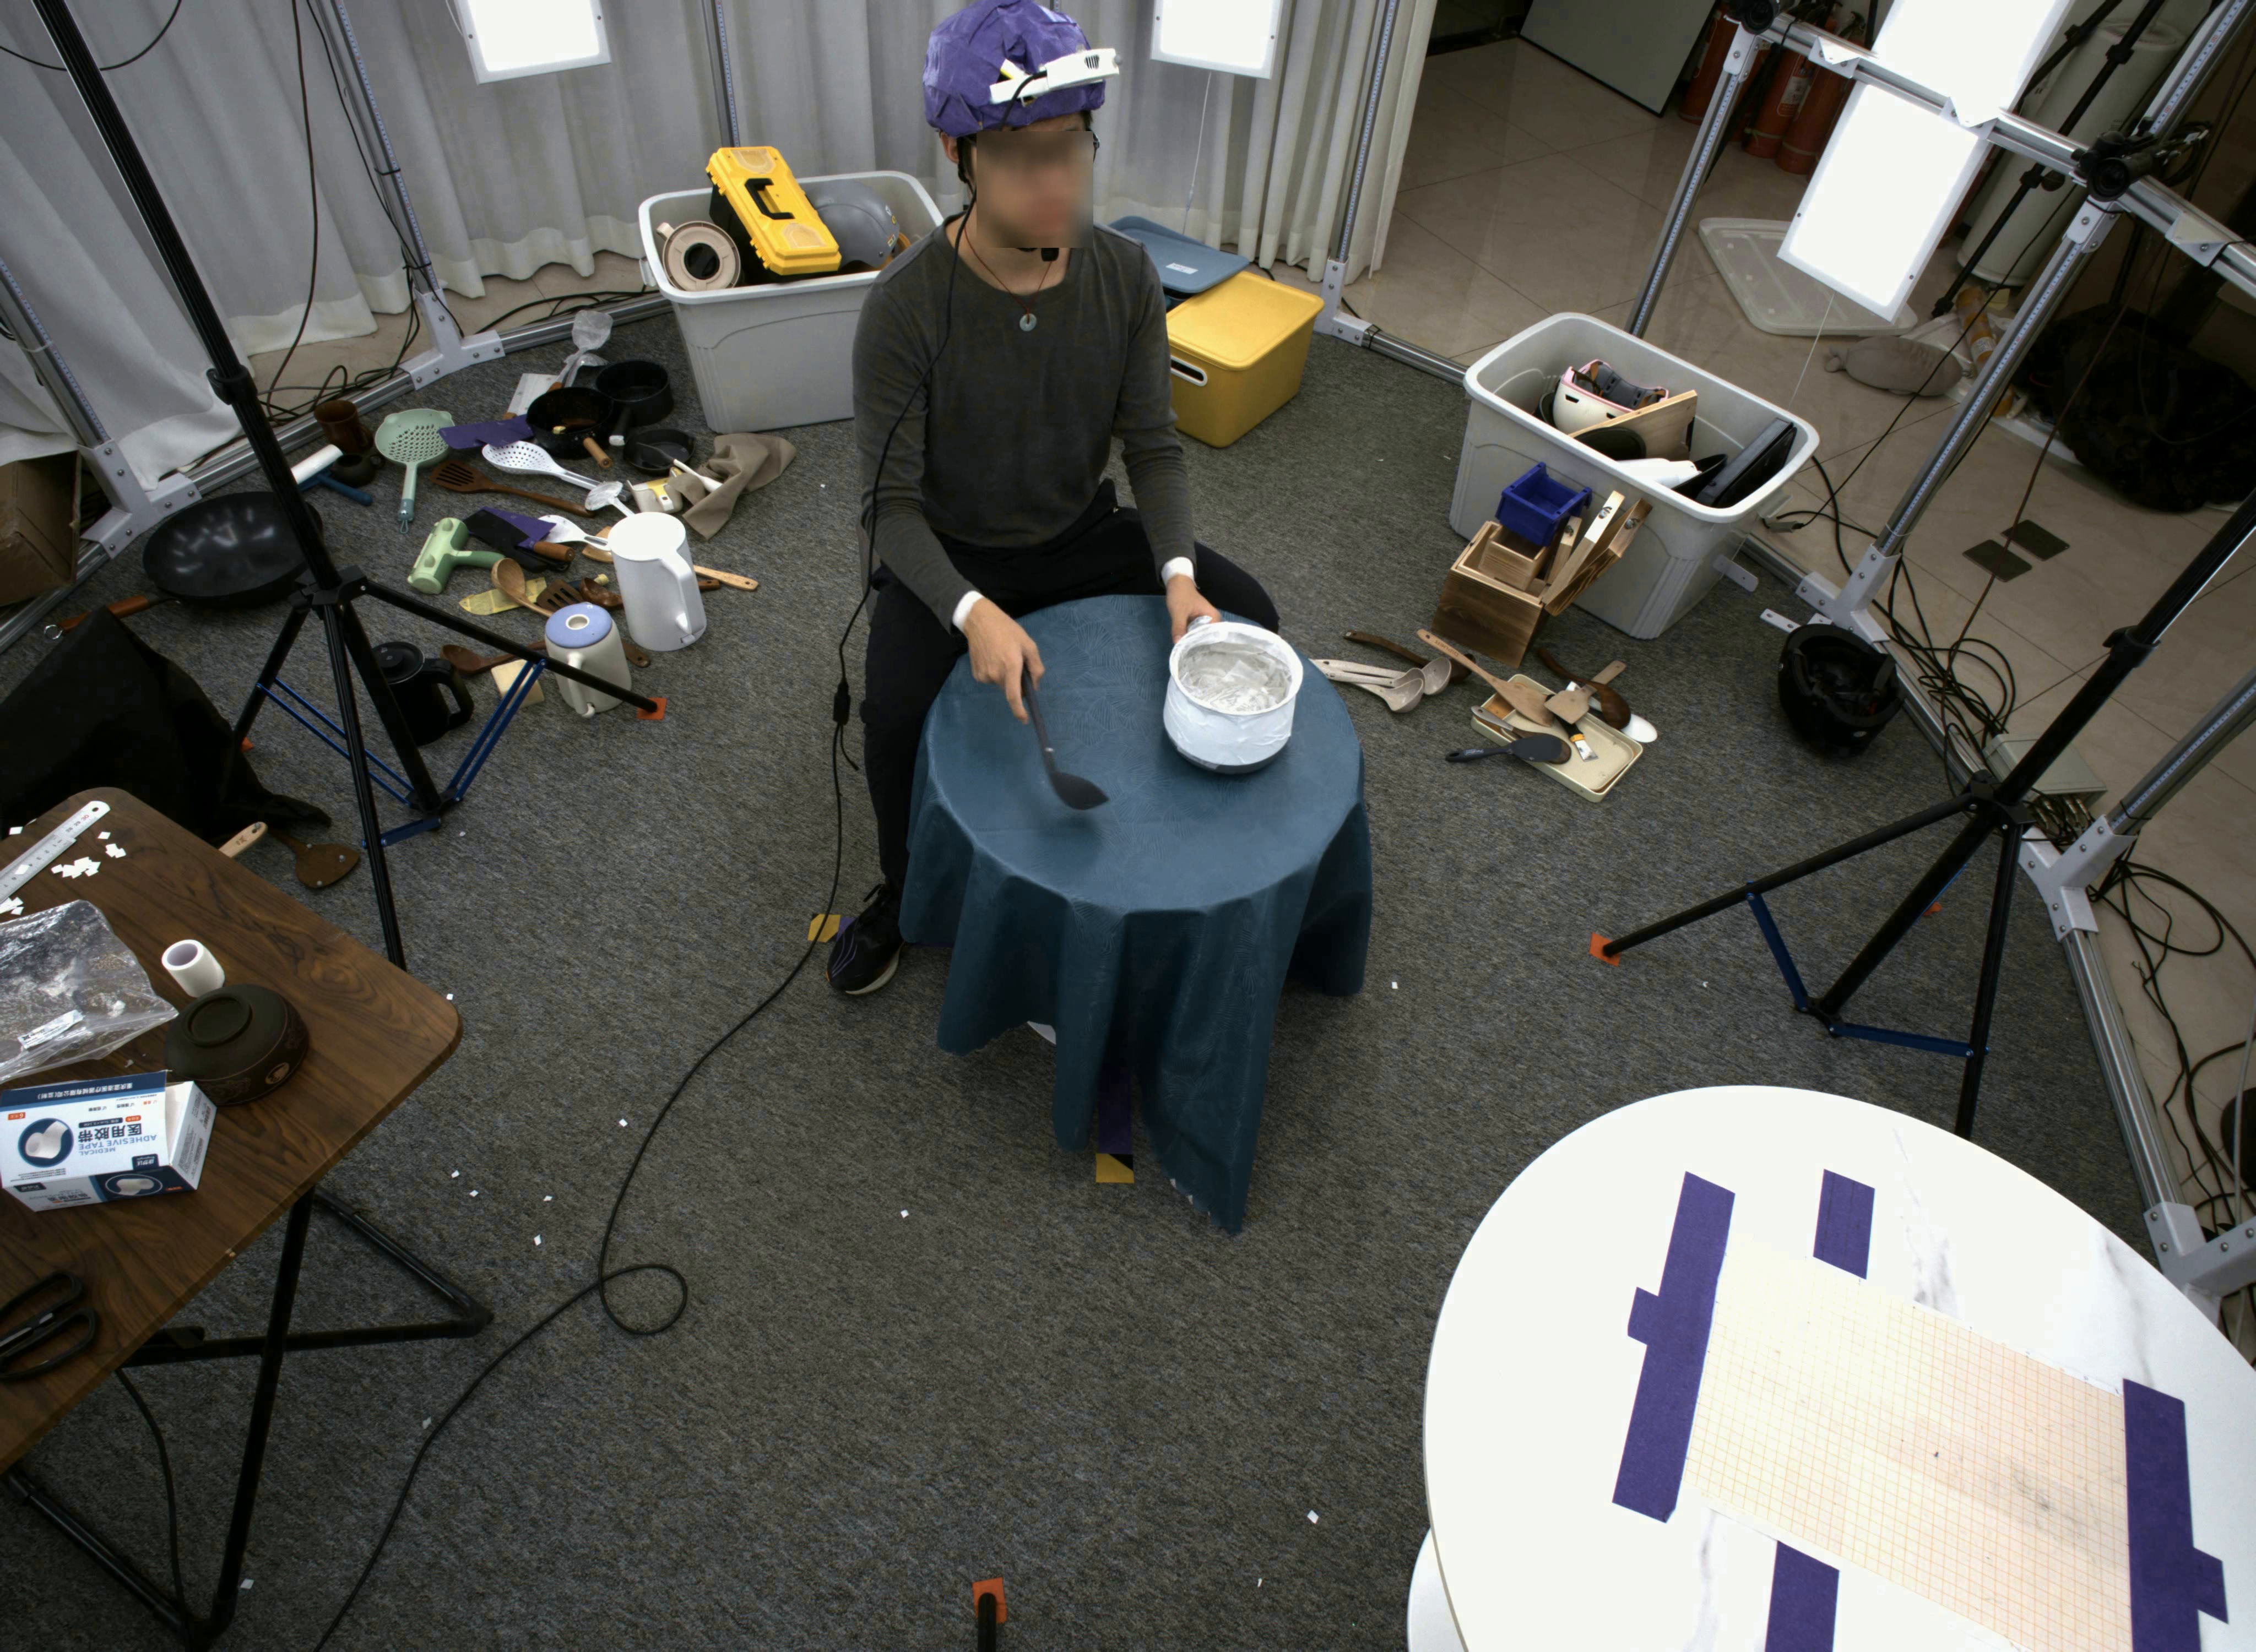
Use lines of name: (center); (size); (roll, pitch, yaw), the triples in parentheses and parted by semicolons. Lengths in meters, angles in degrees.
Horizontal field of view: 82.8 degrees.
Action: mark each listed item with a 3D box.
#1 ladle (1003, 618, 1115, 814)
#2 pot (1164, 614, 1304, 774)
ladle: (-0.096, -0.154, 1.680); (0.064, 0.084, 0.320); (-23, 65, 6)
pot: (0.128, -0.190, 1.751); (0.179, 0.133, 0.239); (-15, 52, -17)
